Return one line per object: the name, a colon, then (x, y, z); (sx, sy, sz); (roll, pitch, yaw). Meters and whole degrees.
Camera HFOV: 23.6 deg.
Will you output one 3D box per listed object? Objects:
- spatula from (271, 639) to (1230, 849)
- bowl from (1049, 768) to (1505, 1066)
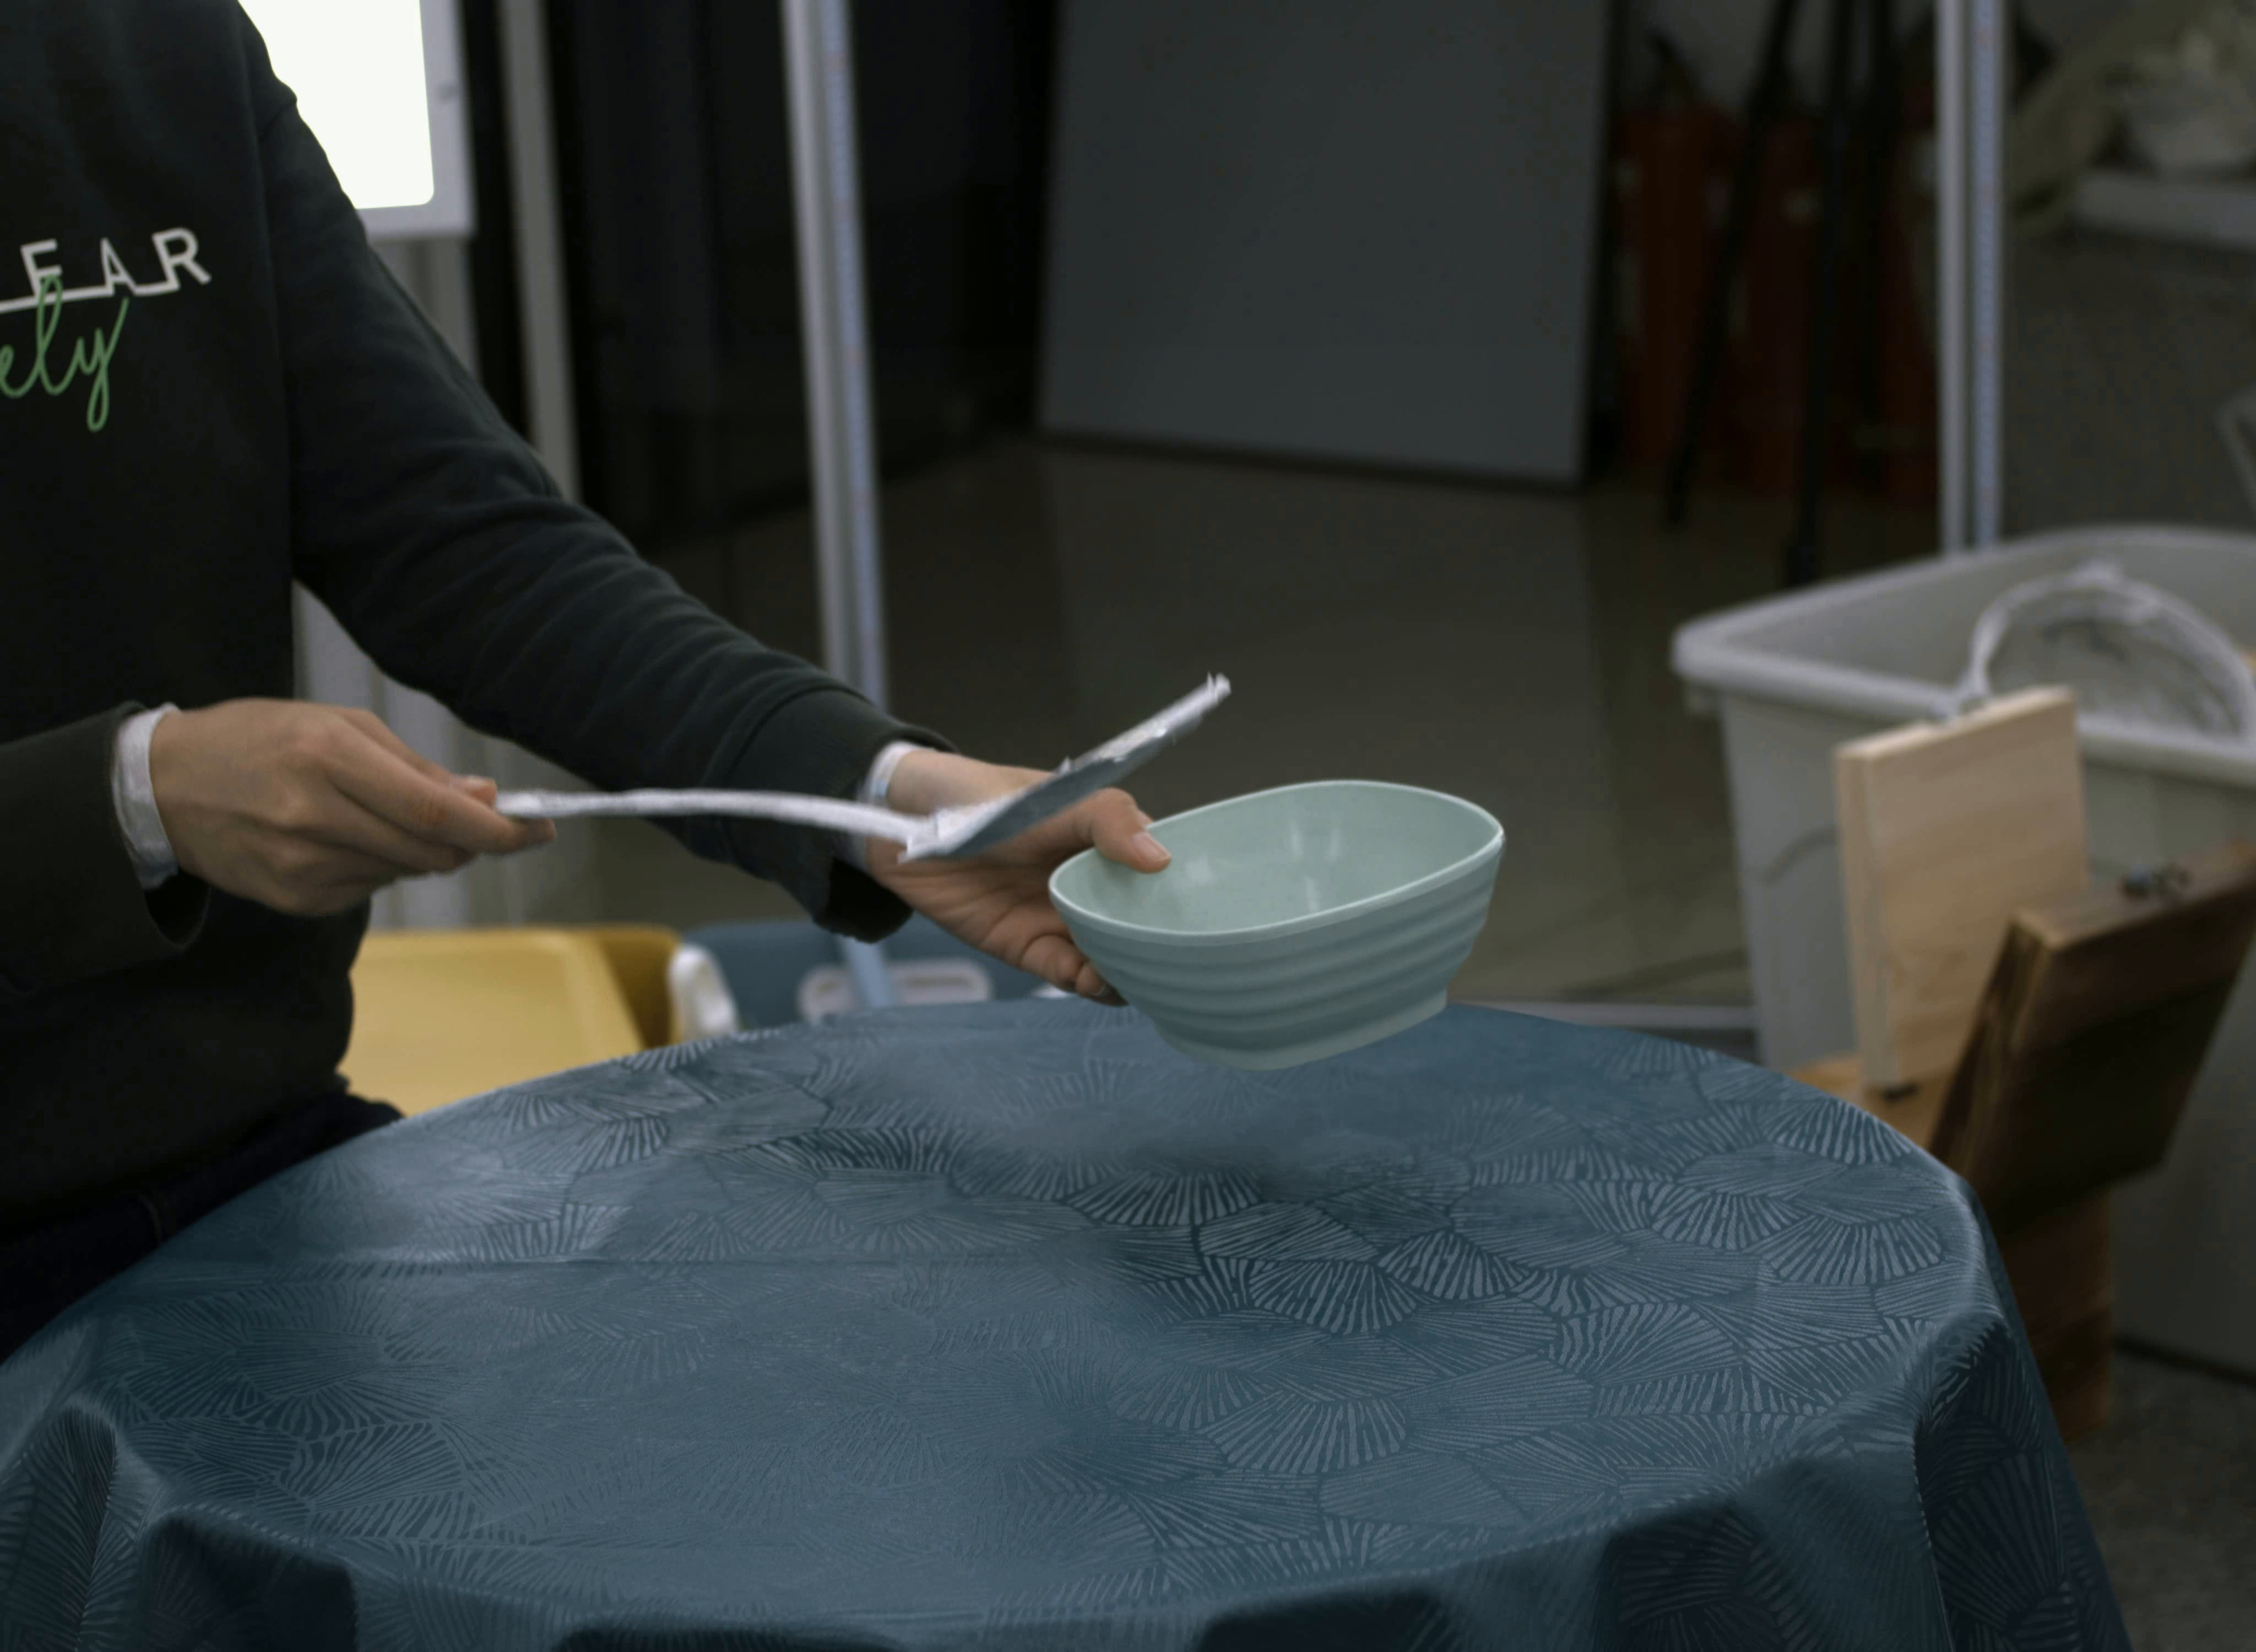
spatula: (-0.133, -0.017, 1.664); (0.366, 0.045, 0.097); (-2, 18, 32)
bowl: (0.050, 0.033, 1.740); (0.149, 0.059, 0.152); (-6, 18, 1)
